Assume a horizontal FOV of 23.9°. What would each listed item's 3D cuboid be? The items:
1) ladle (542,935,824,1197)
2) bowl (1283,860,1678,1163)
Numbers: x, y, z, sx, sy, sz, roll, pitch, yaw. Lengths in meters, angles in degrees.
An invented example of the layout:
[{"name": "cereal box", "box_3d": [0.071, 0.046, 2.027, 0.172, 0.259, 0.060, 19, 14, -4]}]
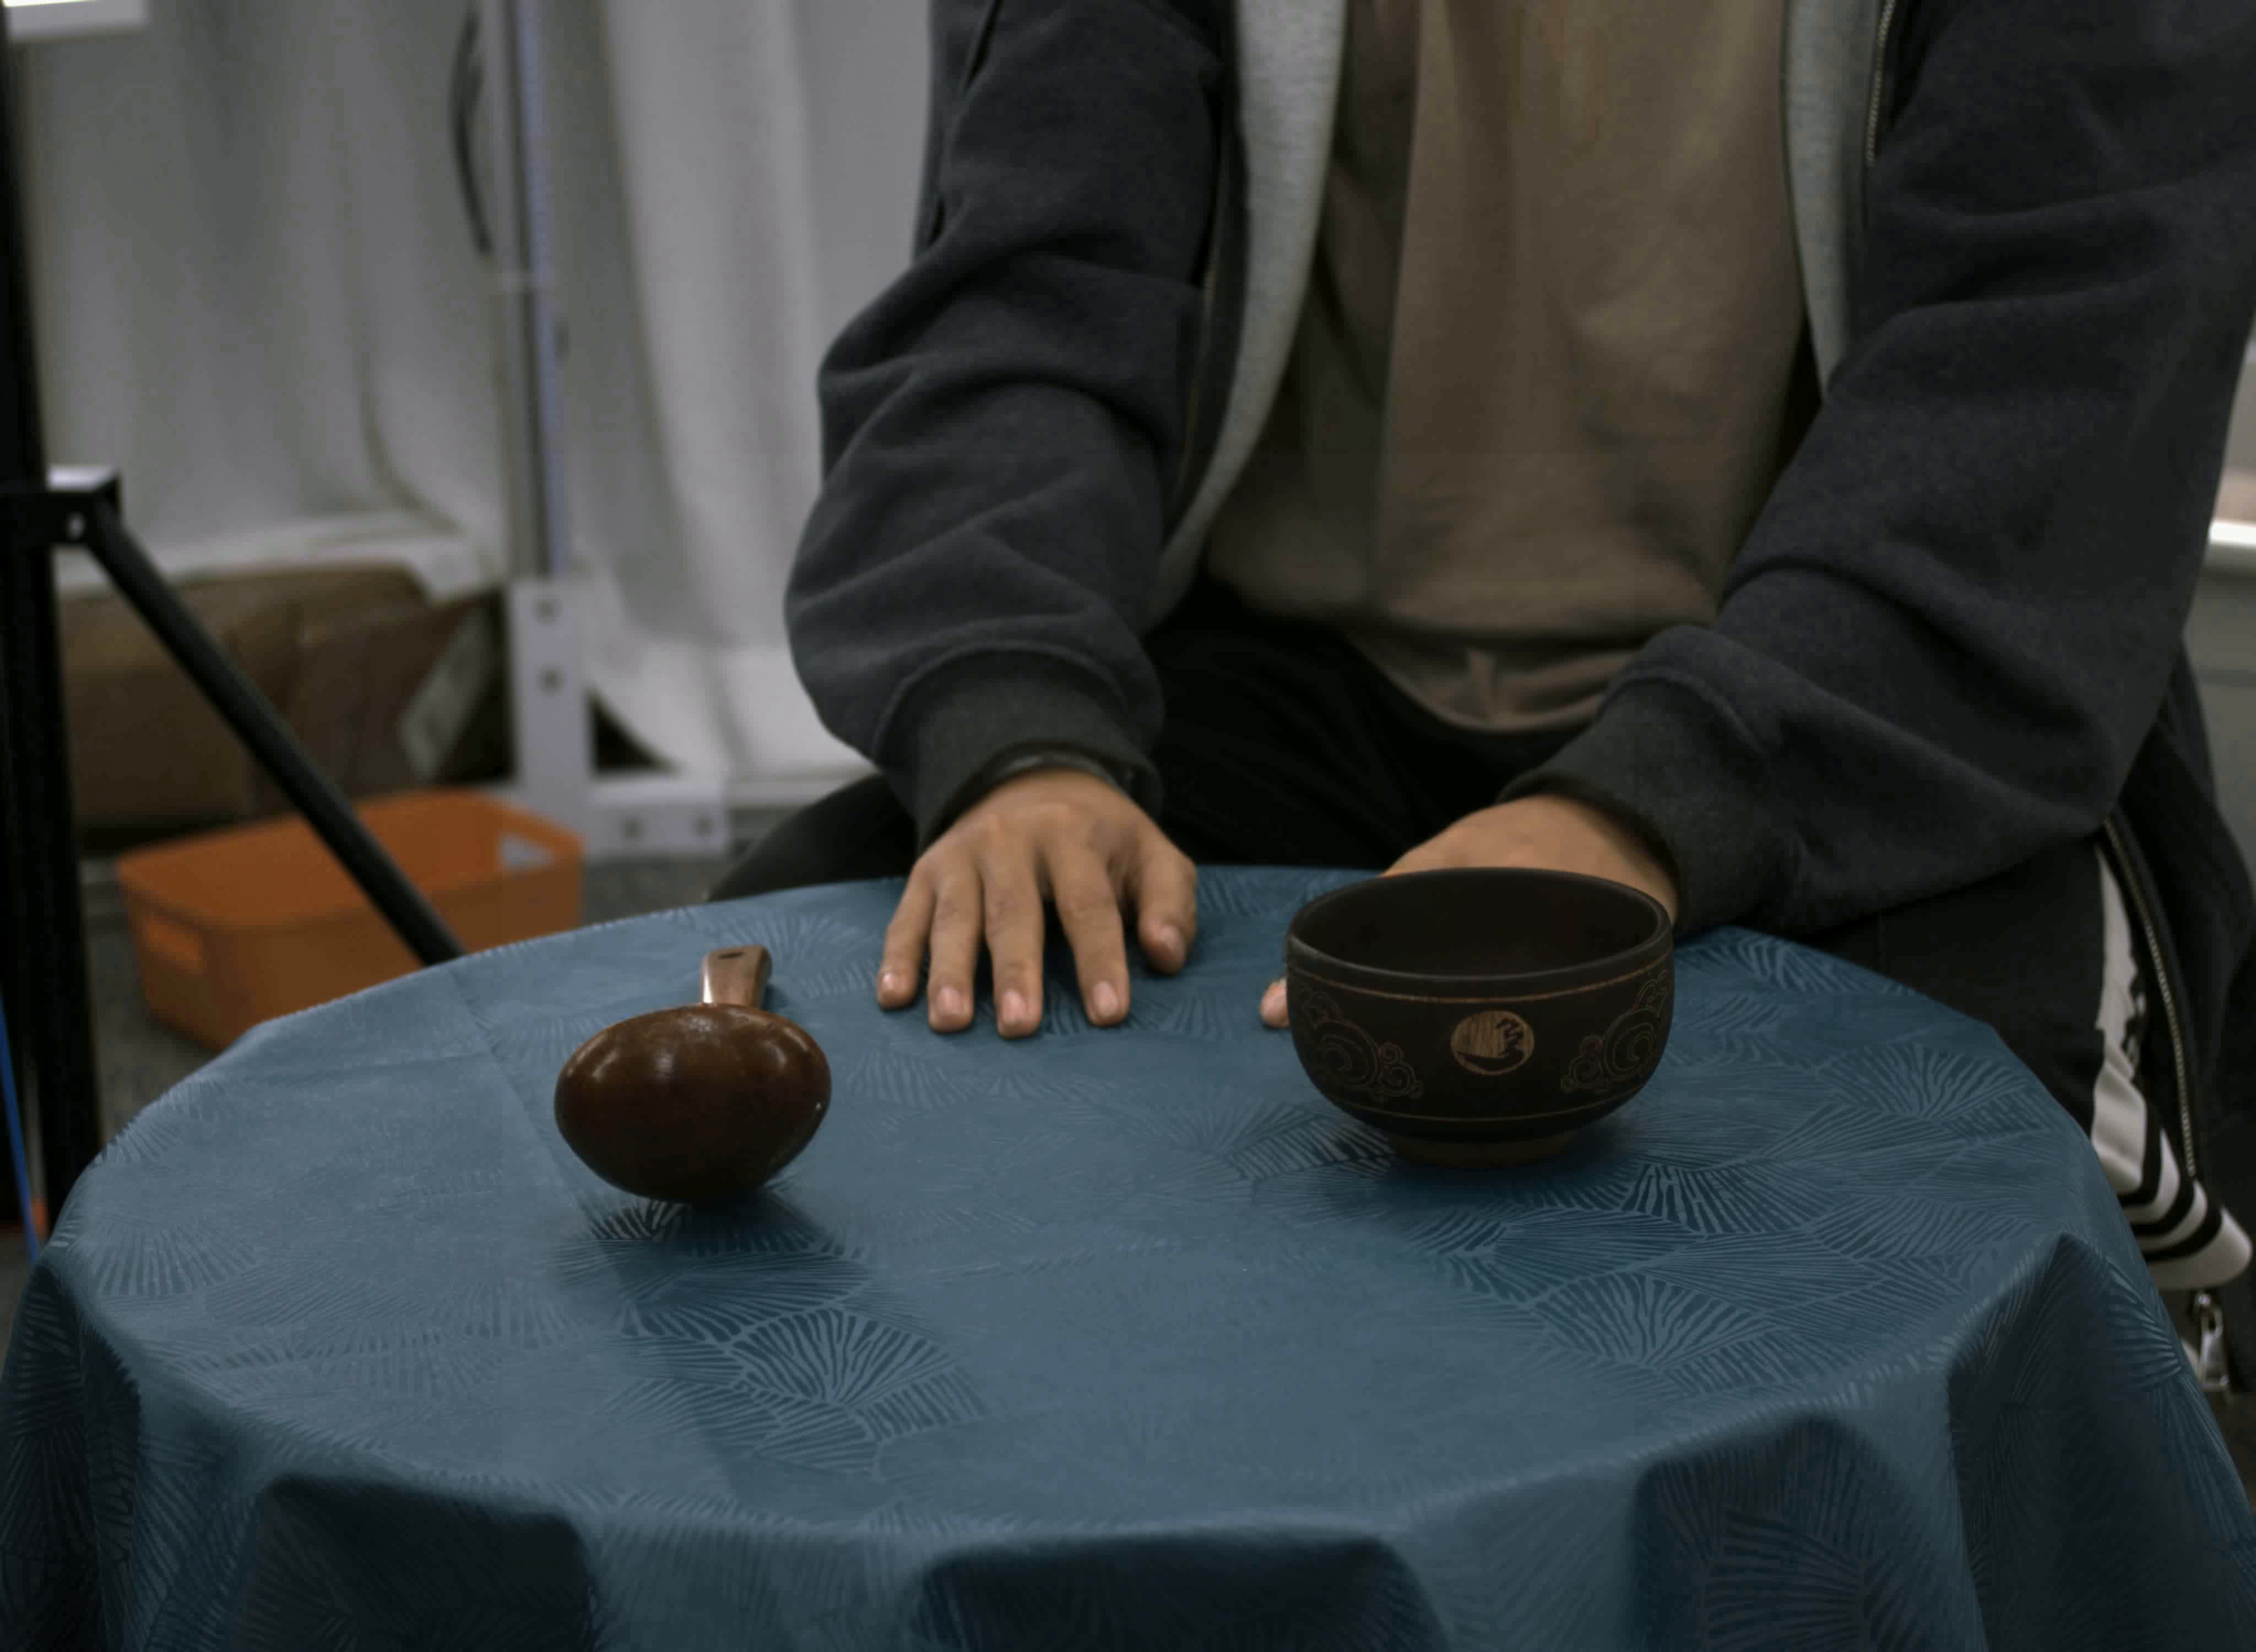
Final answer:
[{"name": "ladle", "box_3d": [-0.128, 0.050, 1.643, 0.082, 0.076, 0.275, -7, 16, 2]}, {"name": "bowl", "box_3d": [0.106, 0.059, 1.580, 0.117, 0.070, 0.118, -3, 15, -1]}]
